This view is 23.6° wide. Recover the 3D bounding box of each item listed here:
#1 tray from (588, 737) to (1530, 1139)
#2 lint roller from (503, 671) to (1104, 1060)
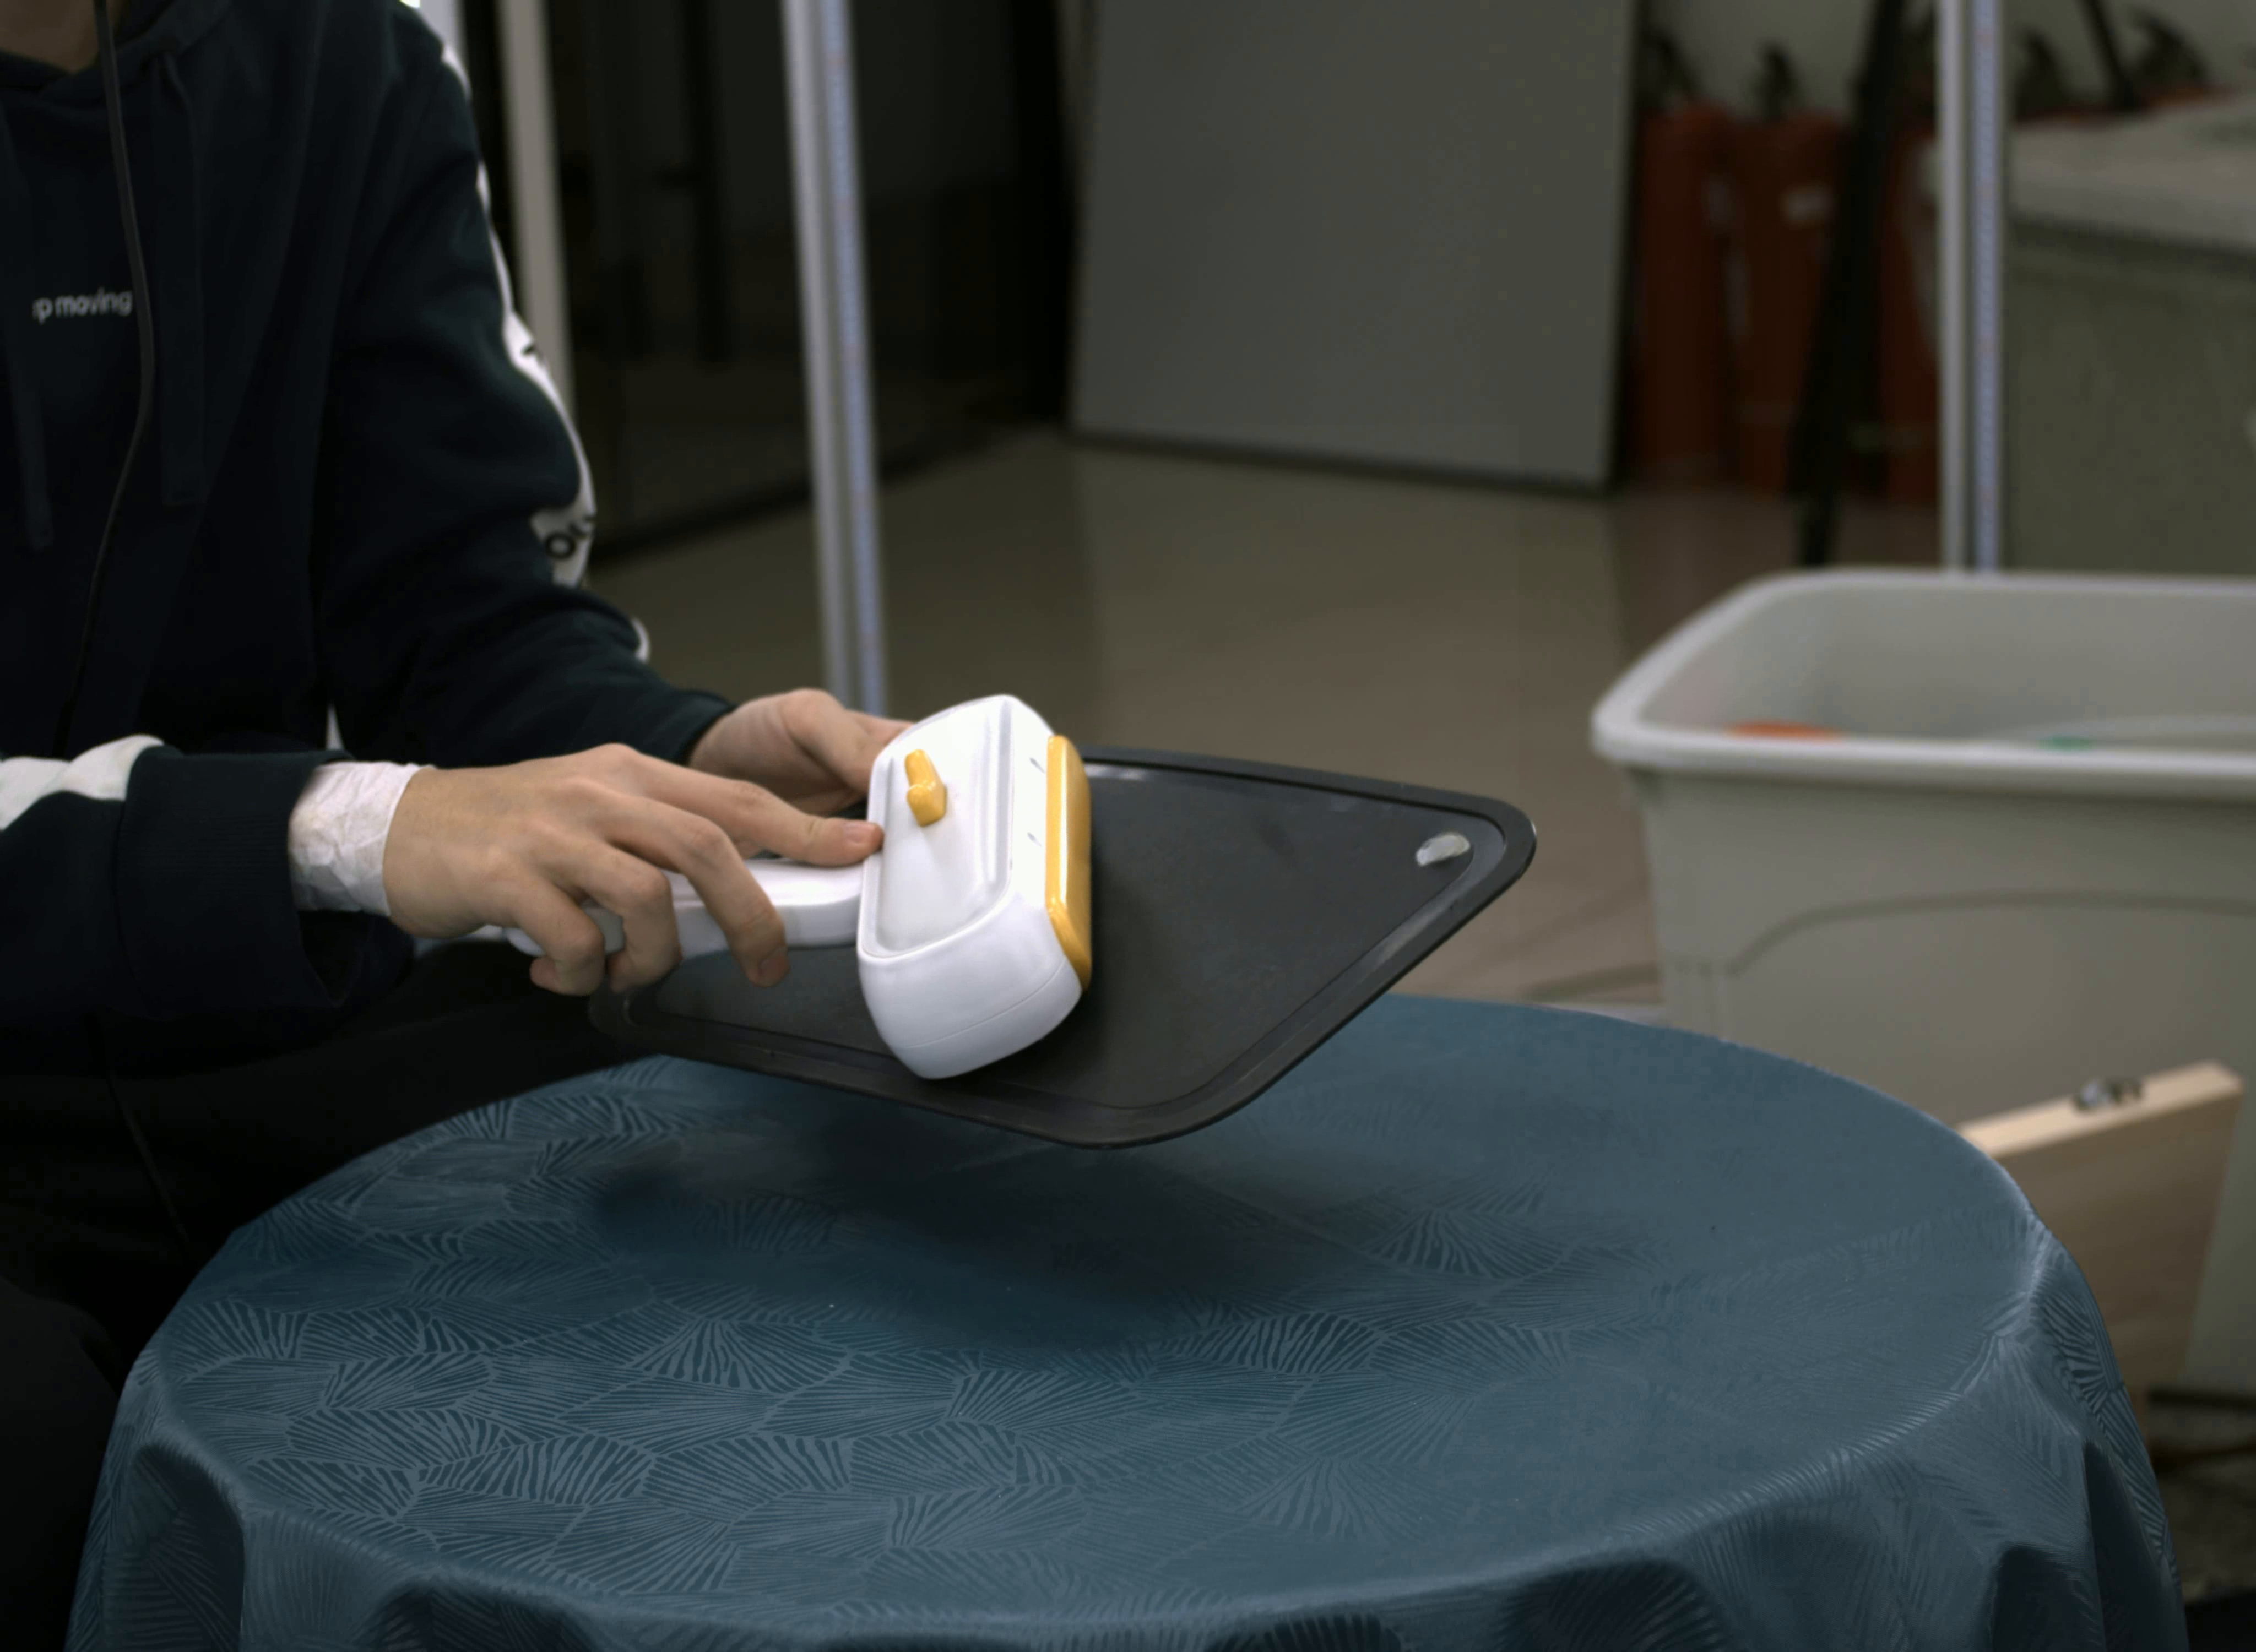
[{"bbox_3d":[-0.033,0.030,1.771,0.328,0.010,0.208,8,37,47],"label":"tray"},{"bbox_3d":[-0.106,0.023,1.755,0.191,0.074,0.194,-18,29,5],"label":"lint roller"}]
